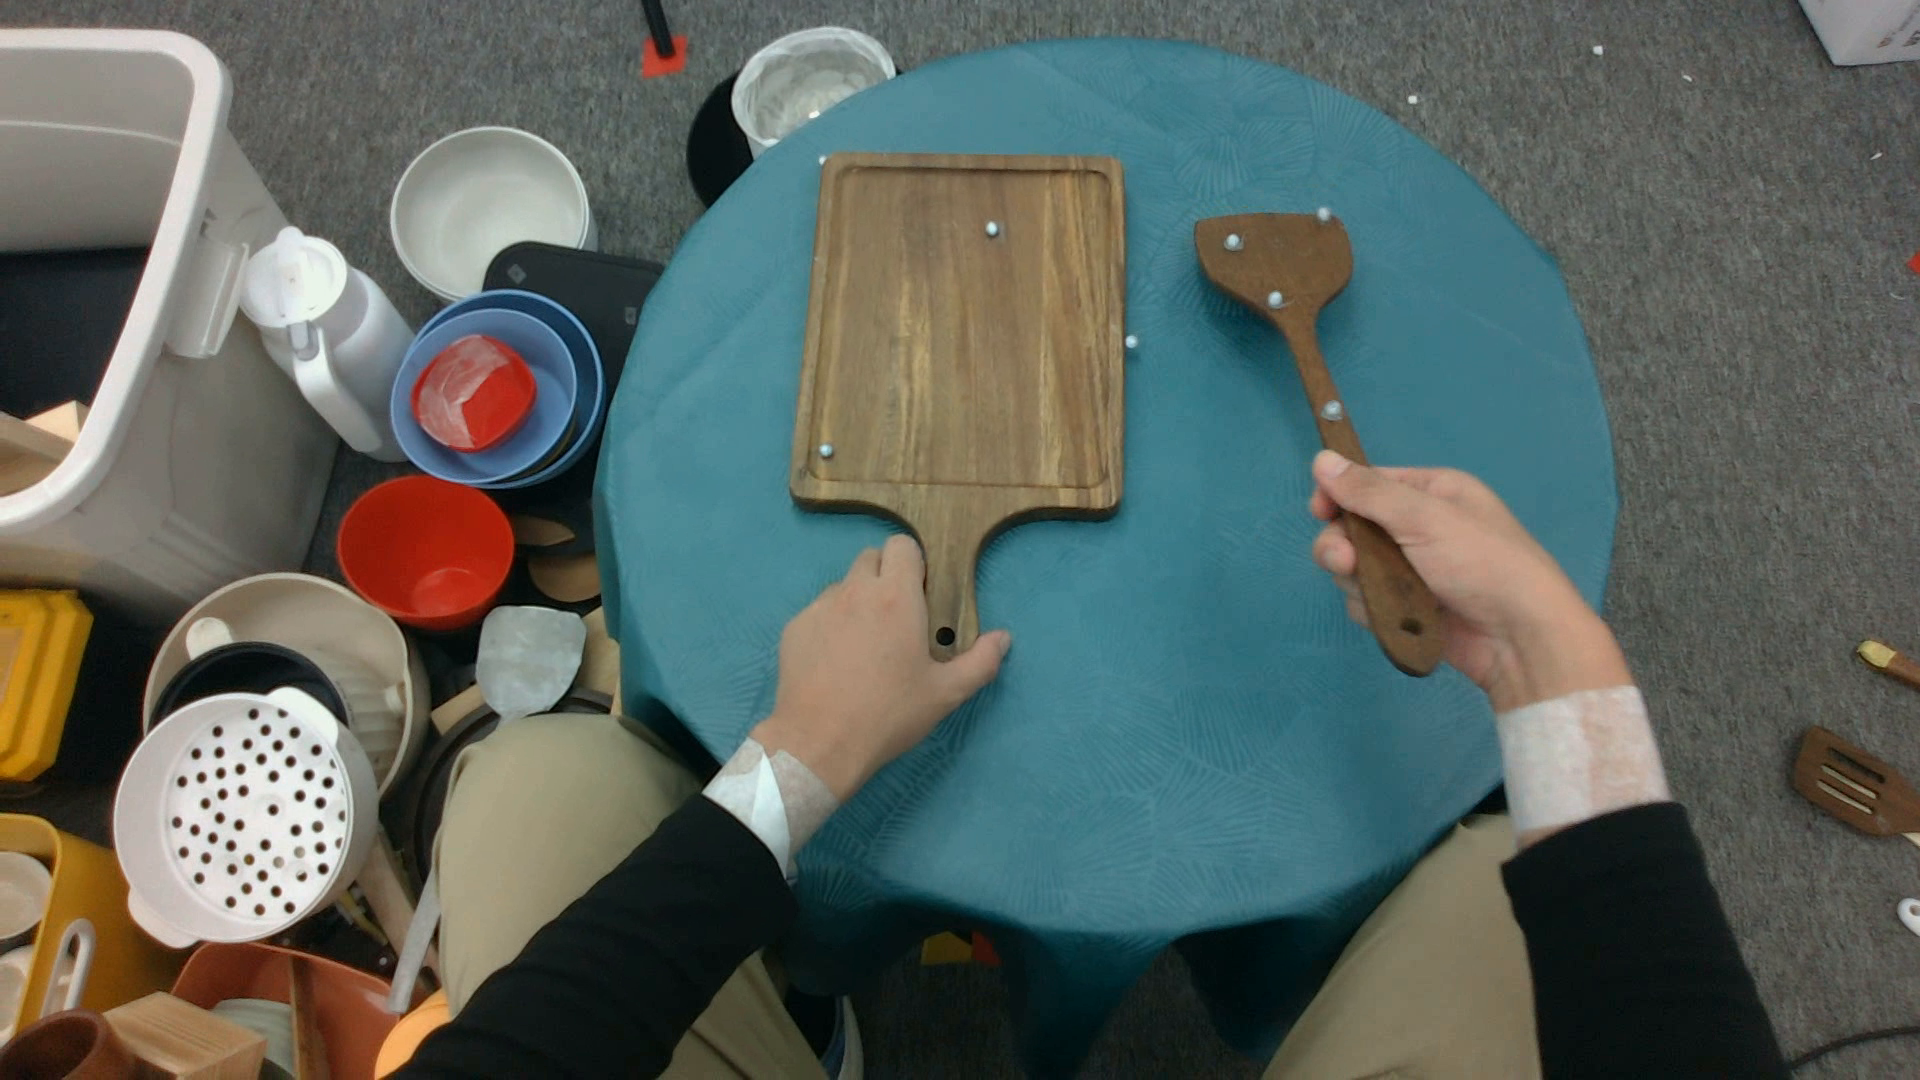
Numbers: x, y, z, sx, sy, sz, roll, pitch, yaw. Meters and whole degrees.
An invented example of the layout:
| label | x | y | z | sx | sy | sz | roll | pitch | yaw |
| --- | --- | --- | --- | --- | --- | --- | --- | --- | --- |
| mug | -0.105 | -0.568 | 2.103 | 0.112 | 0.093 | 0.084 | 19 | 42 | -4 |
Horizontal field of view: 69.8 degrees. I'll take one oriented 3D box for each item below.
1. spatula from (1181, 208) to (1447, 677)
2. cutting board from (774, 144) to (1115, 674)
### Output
| label | x | y | z | sx | sy | sz | roll | pitch | yaw |
| --- | --- | --- | --- | --- | --- | --- | --- | --- | --- |
| spatula | 0.188 | -0.076 | 0.718 | 0.096 | 0.016 | 0.387 | -1 | 42 | -2 |
| cutting board | -0.008 | -0.091 | 0.826 | 0.201 | 0.023 | 0.353 | 1 | 67 | 2 |
